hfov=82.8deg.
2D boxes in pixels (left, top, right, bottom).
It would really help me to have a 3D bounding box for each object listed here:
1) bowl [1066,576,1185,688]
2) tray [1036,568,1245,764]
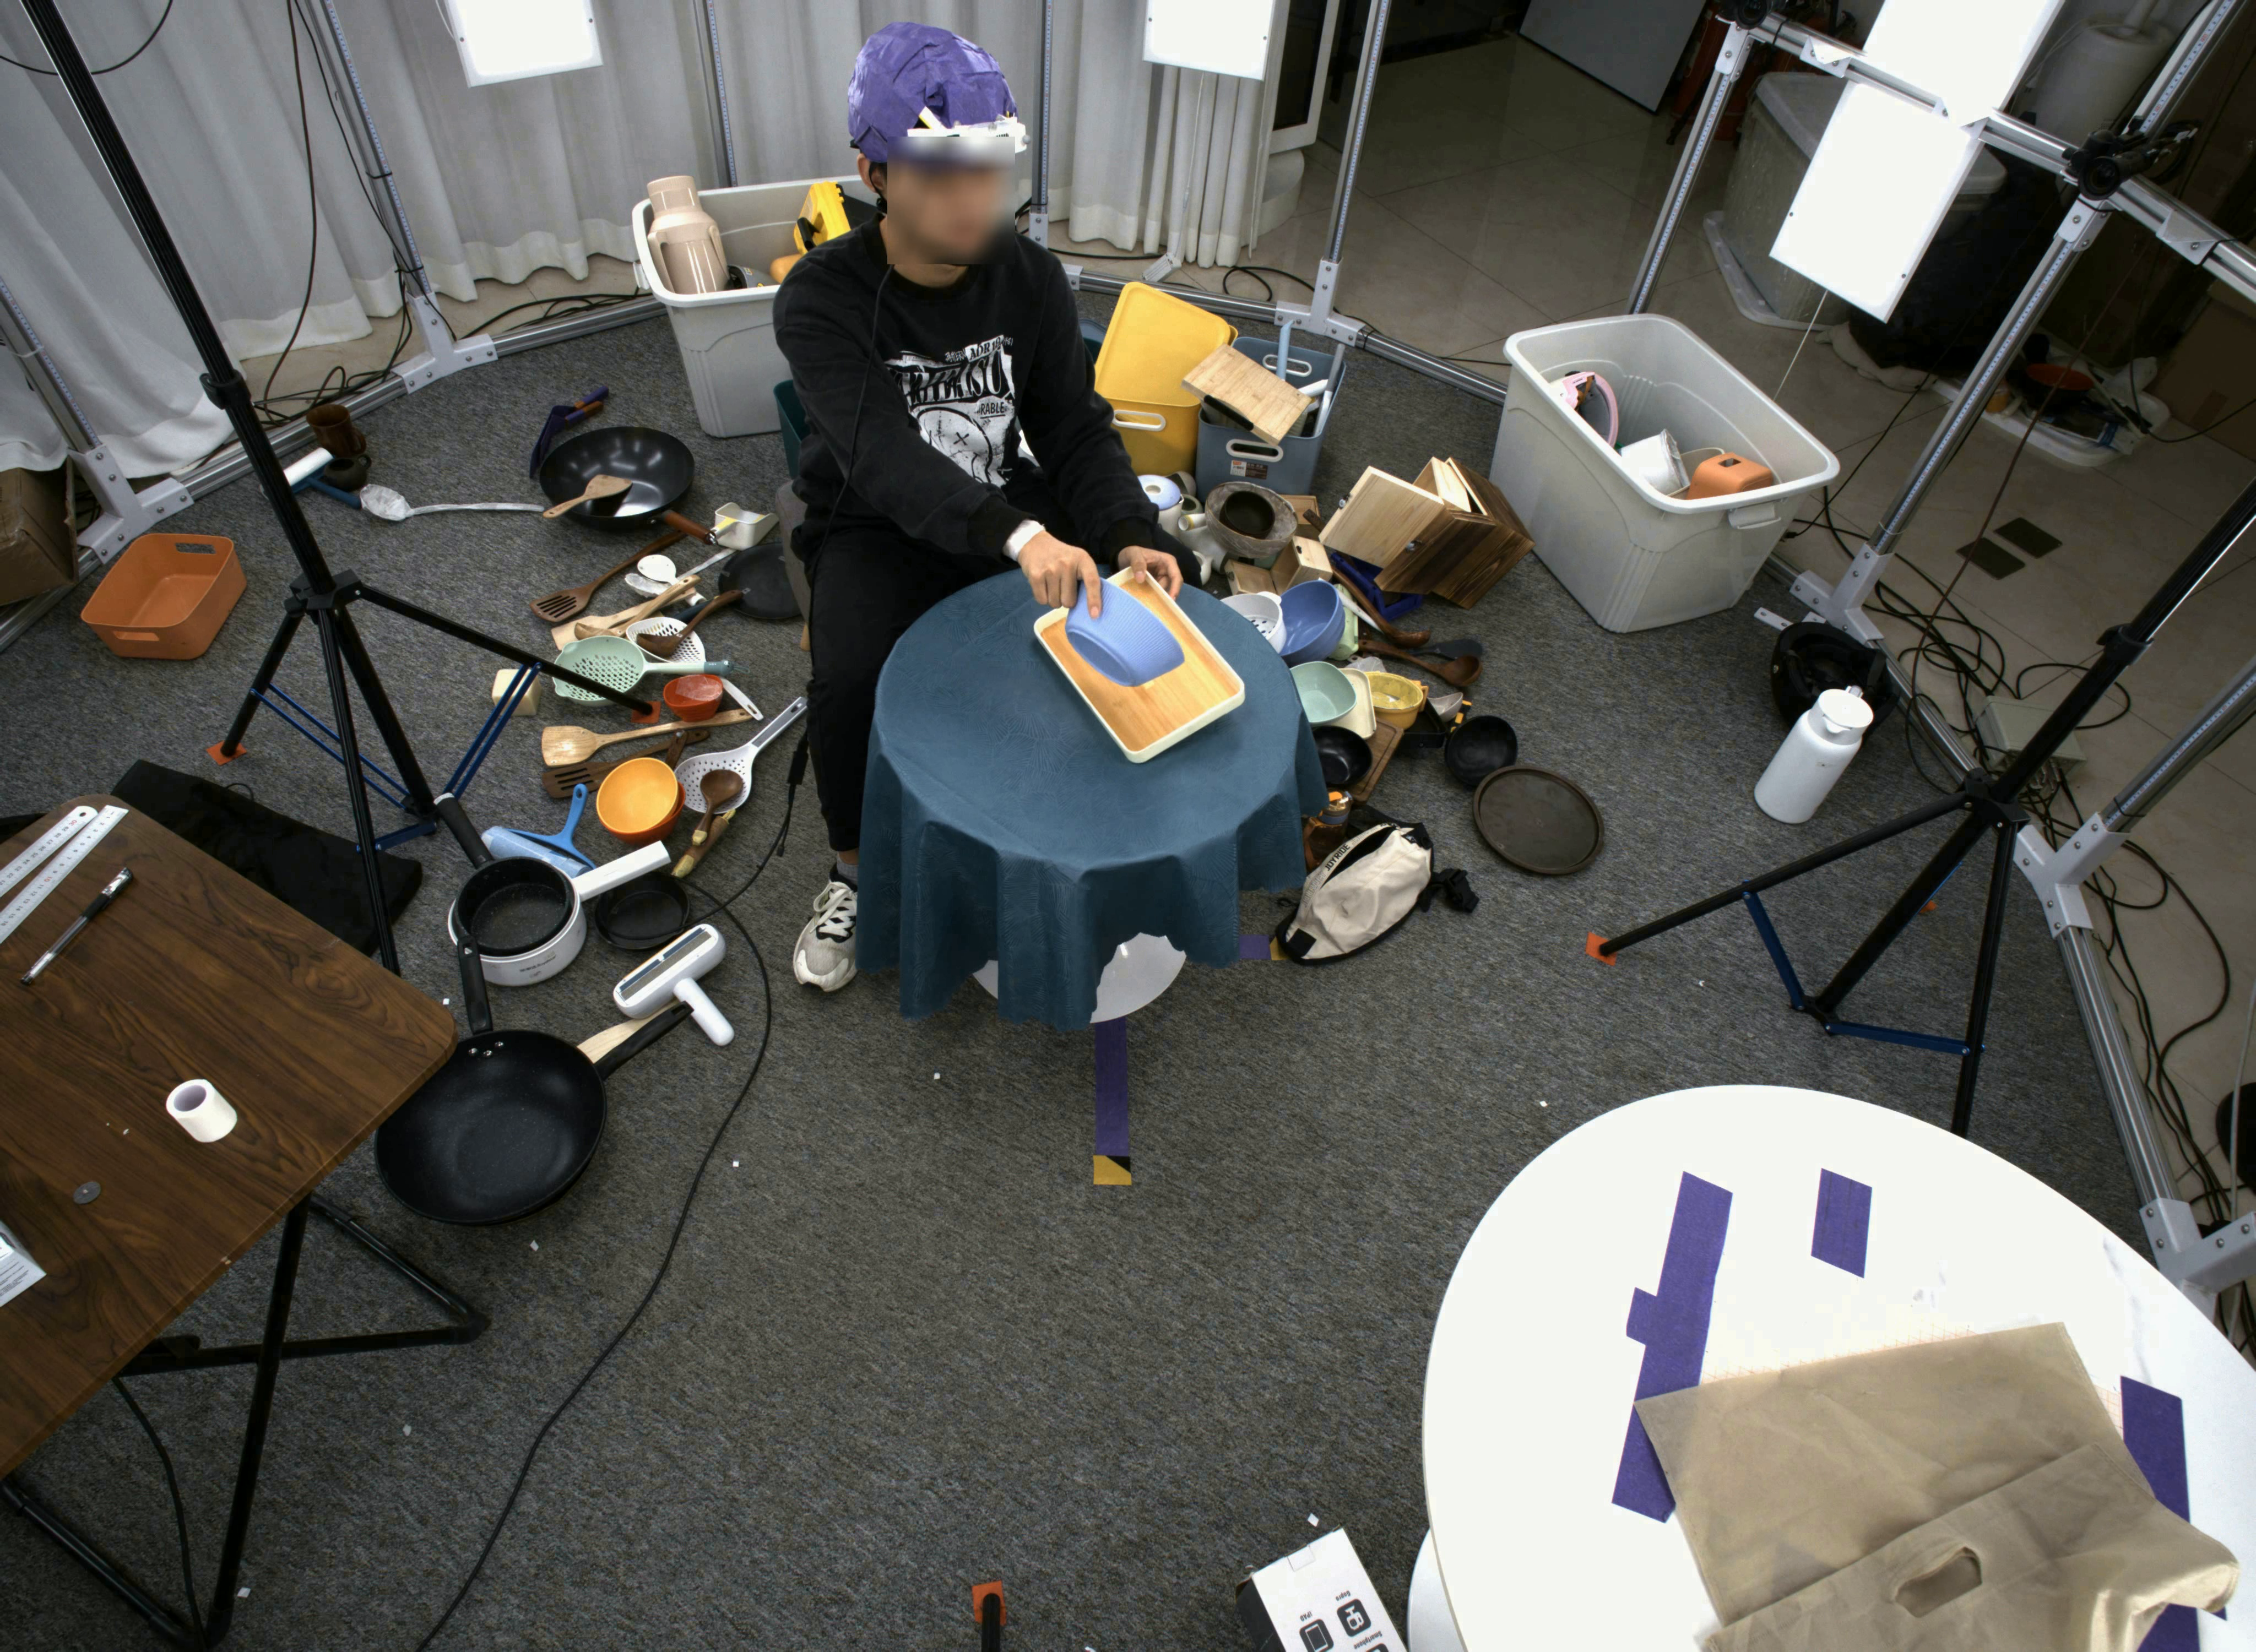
[{"bbox_3d":[-0.015,-0.241,1.667,0.178,0.173,0.071,34,78,22],"label":"bowl"},{"bbox_3d":[0.014,-0.235,1.841,0.192,0.027,0.306,-31,56,-8],"label":"tray"}]
